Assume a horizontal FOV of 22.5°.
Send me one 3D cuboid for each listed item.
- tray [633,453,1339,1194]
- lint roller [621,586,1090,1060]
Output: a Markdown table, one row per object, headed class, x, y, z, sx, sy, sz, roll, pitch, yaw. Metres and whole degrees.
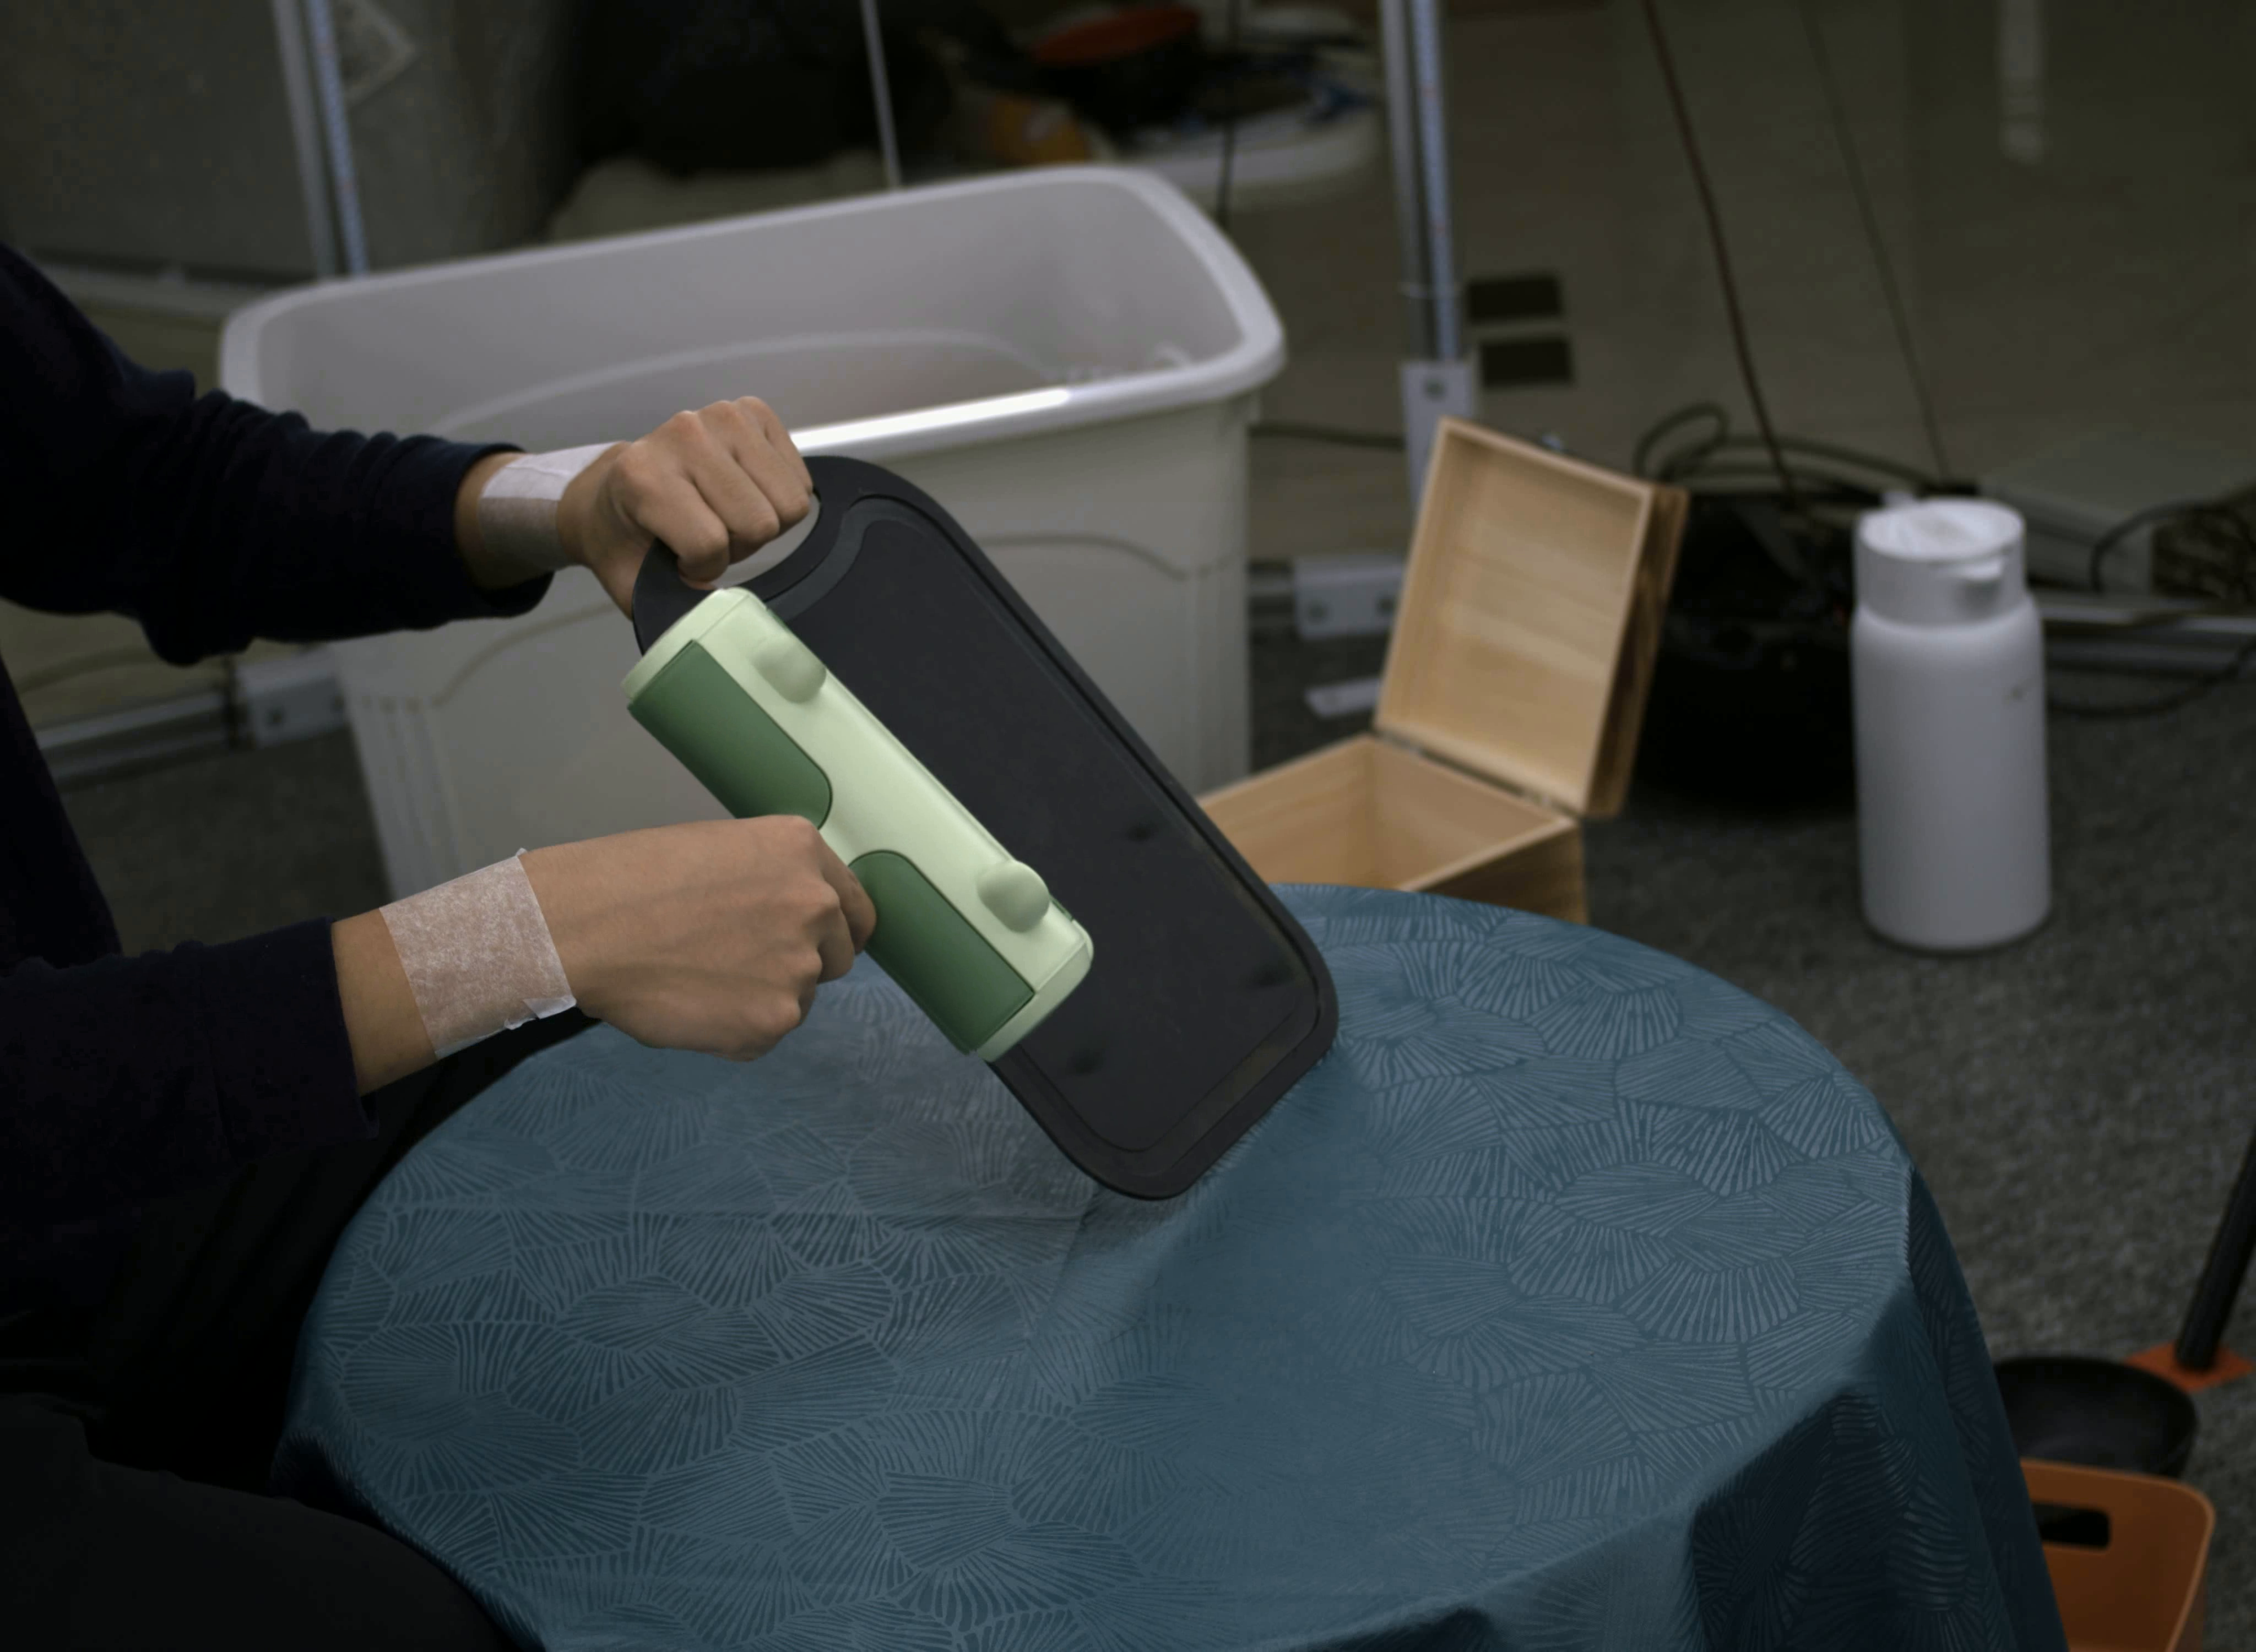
| class | x | y | z | sx | sy | sz | roll | pitch | yaw |
| --- | --- | --- | --- | --- | --- | --- | --- | --- | --- |
| tray | -0.055 | -0.010 | 2.176 | 0.010 | 0.325 | 0.208 | -40 | 0 | 36 |
| lint roller | -0.111 | 0.014 | 2.009 | 0.083 | 0.199 | 0.181 | -42 | 4 | 31 |
